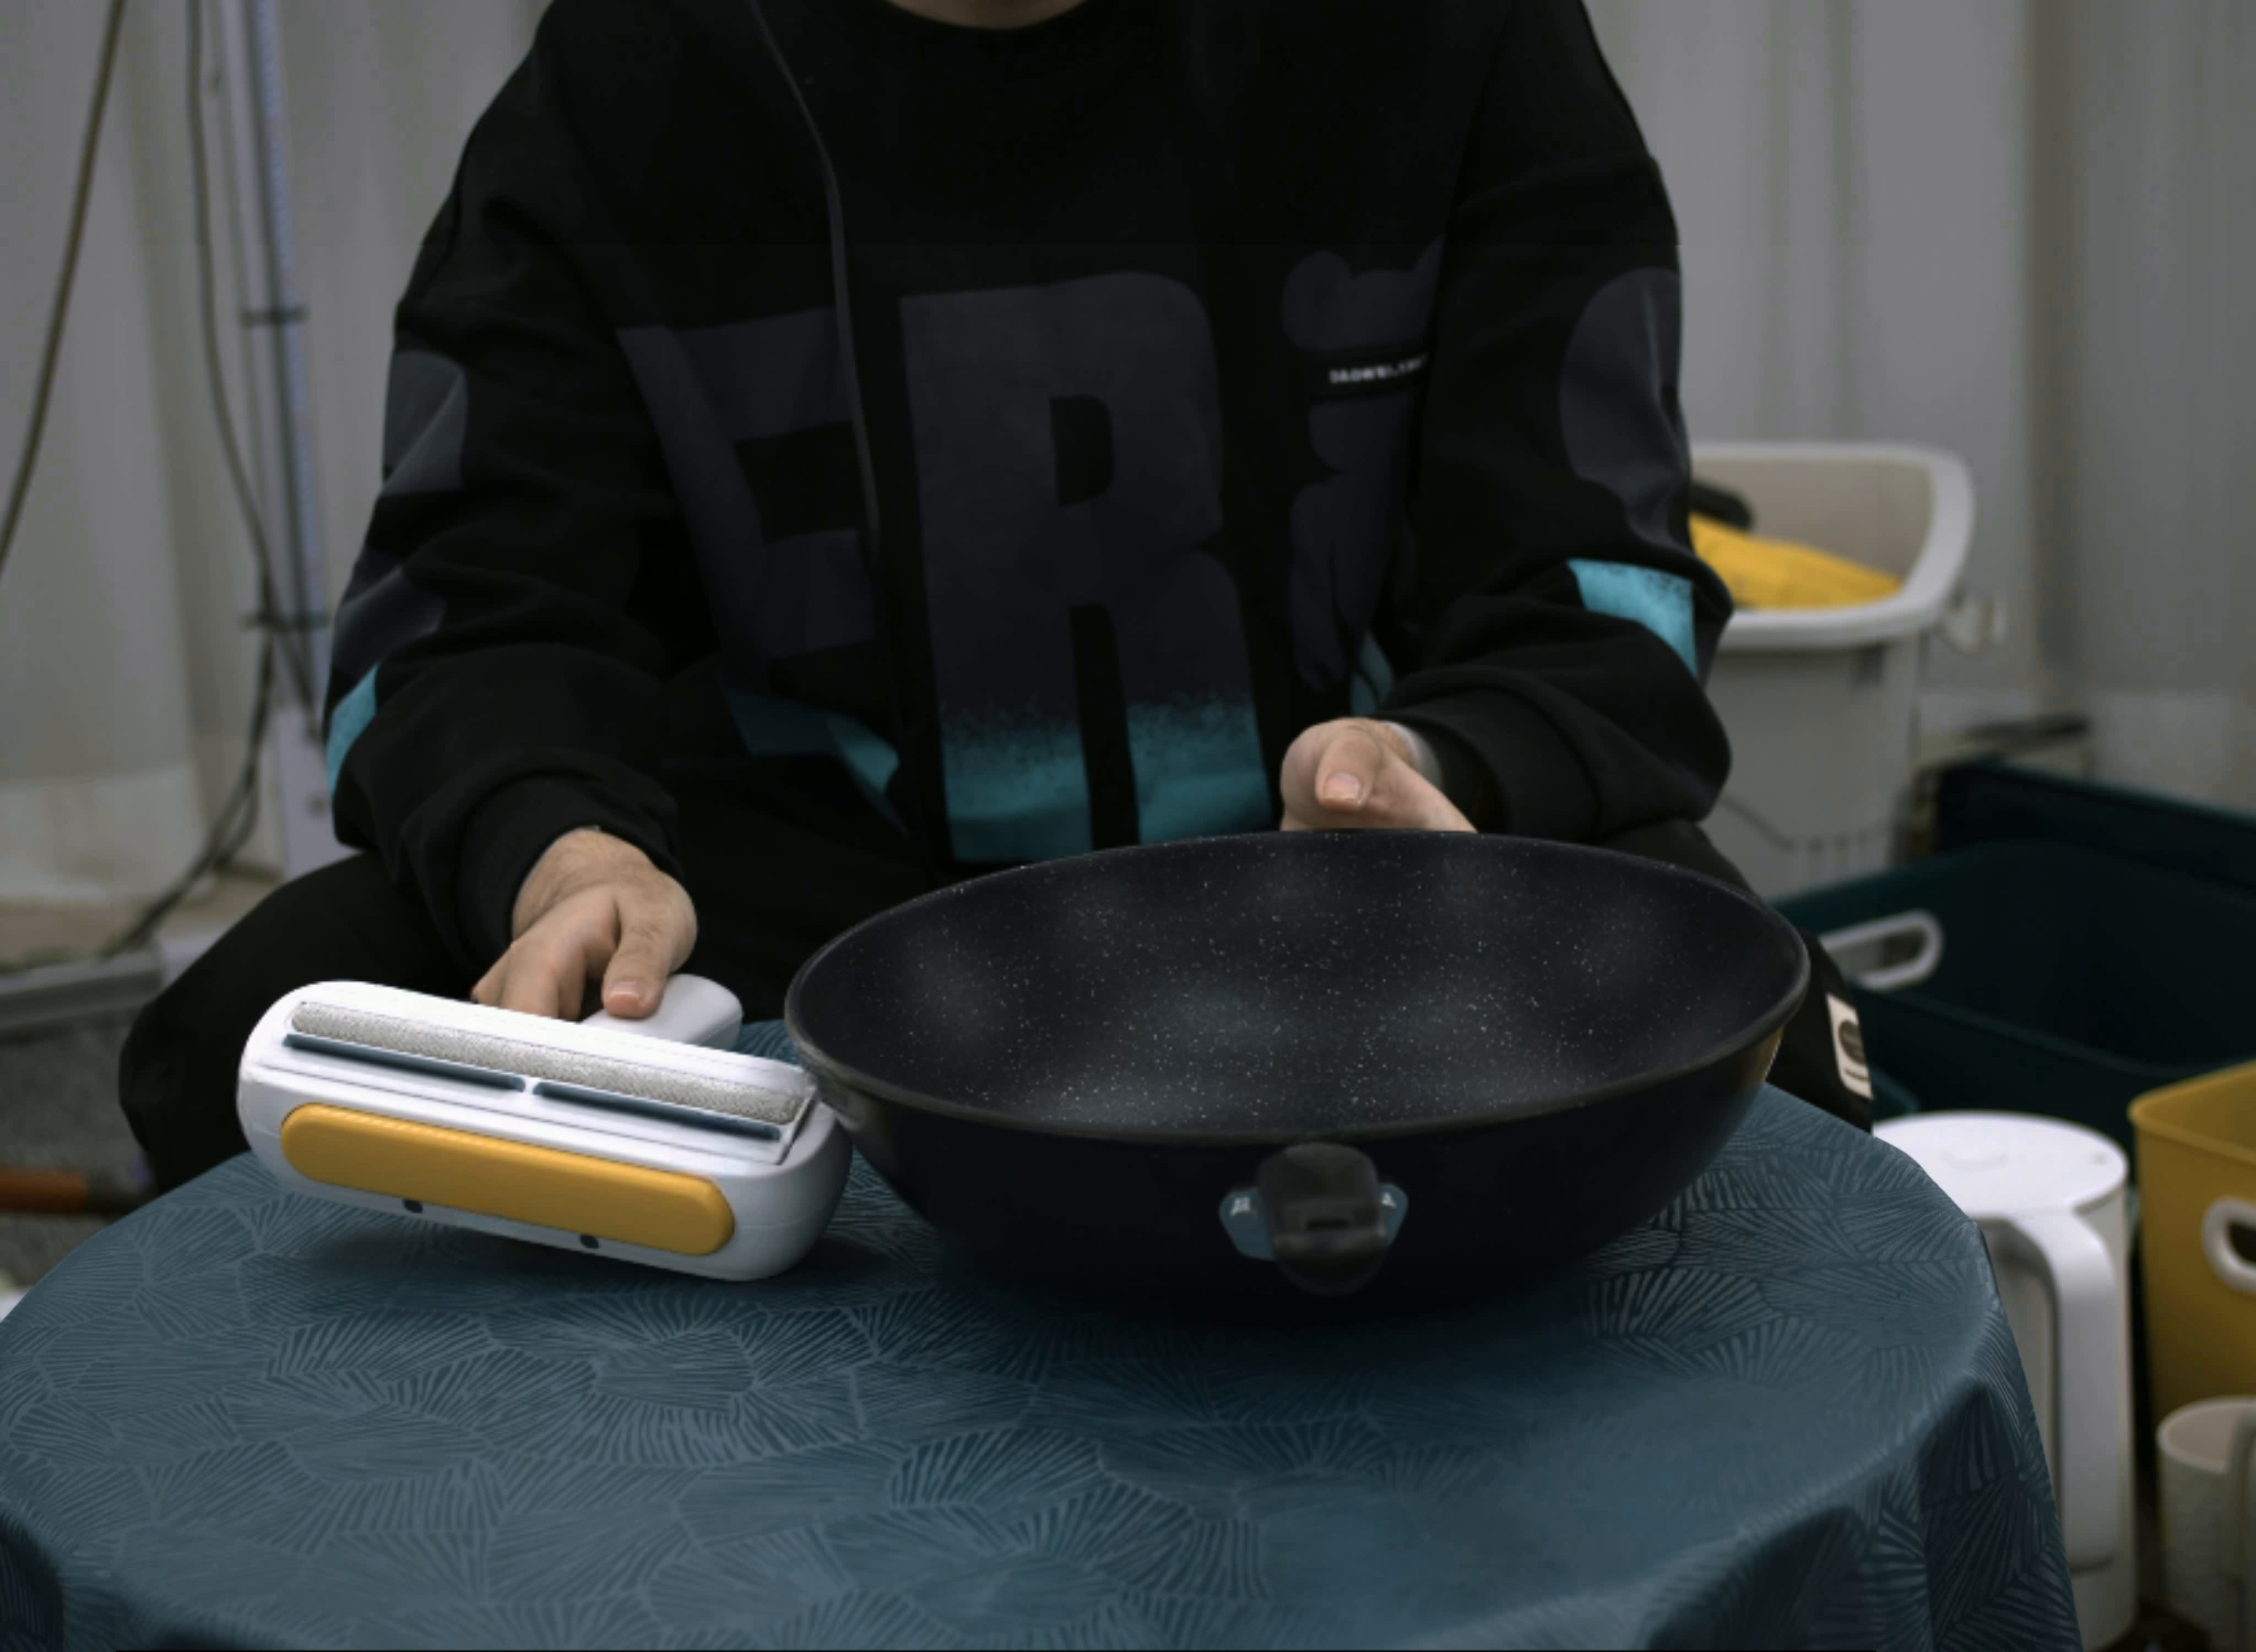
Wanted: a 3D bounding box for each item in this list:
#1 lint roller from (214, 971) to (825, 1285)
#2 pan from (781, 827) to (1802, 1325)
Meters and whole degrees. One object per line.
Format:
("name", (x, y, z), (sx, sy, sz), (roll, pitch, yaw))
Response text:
("lint roller", (-0.167, 0.077, 1.730), (0.193, 0.073, 0.193), (7, 25, 18))
("pan", (0.051, 0.093, 1.579), (0.309, 0.111, 0.480), (-5, 15, 1))
